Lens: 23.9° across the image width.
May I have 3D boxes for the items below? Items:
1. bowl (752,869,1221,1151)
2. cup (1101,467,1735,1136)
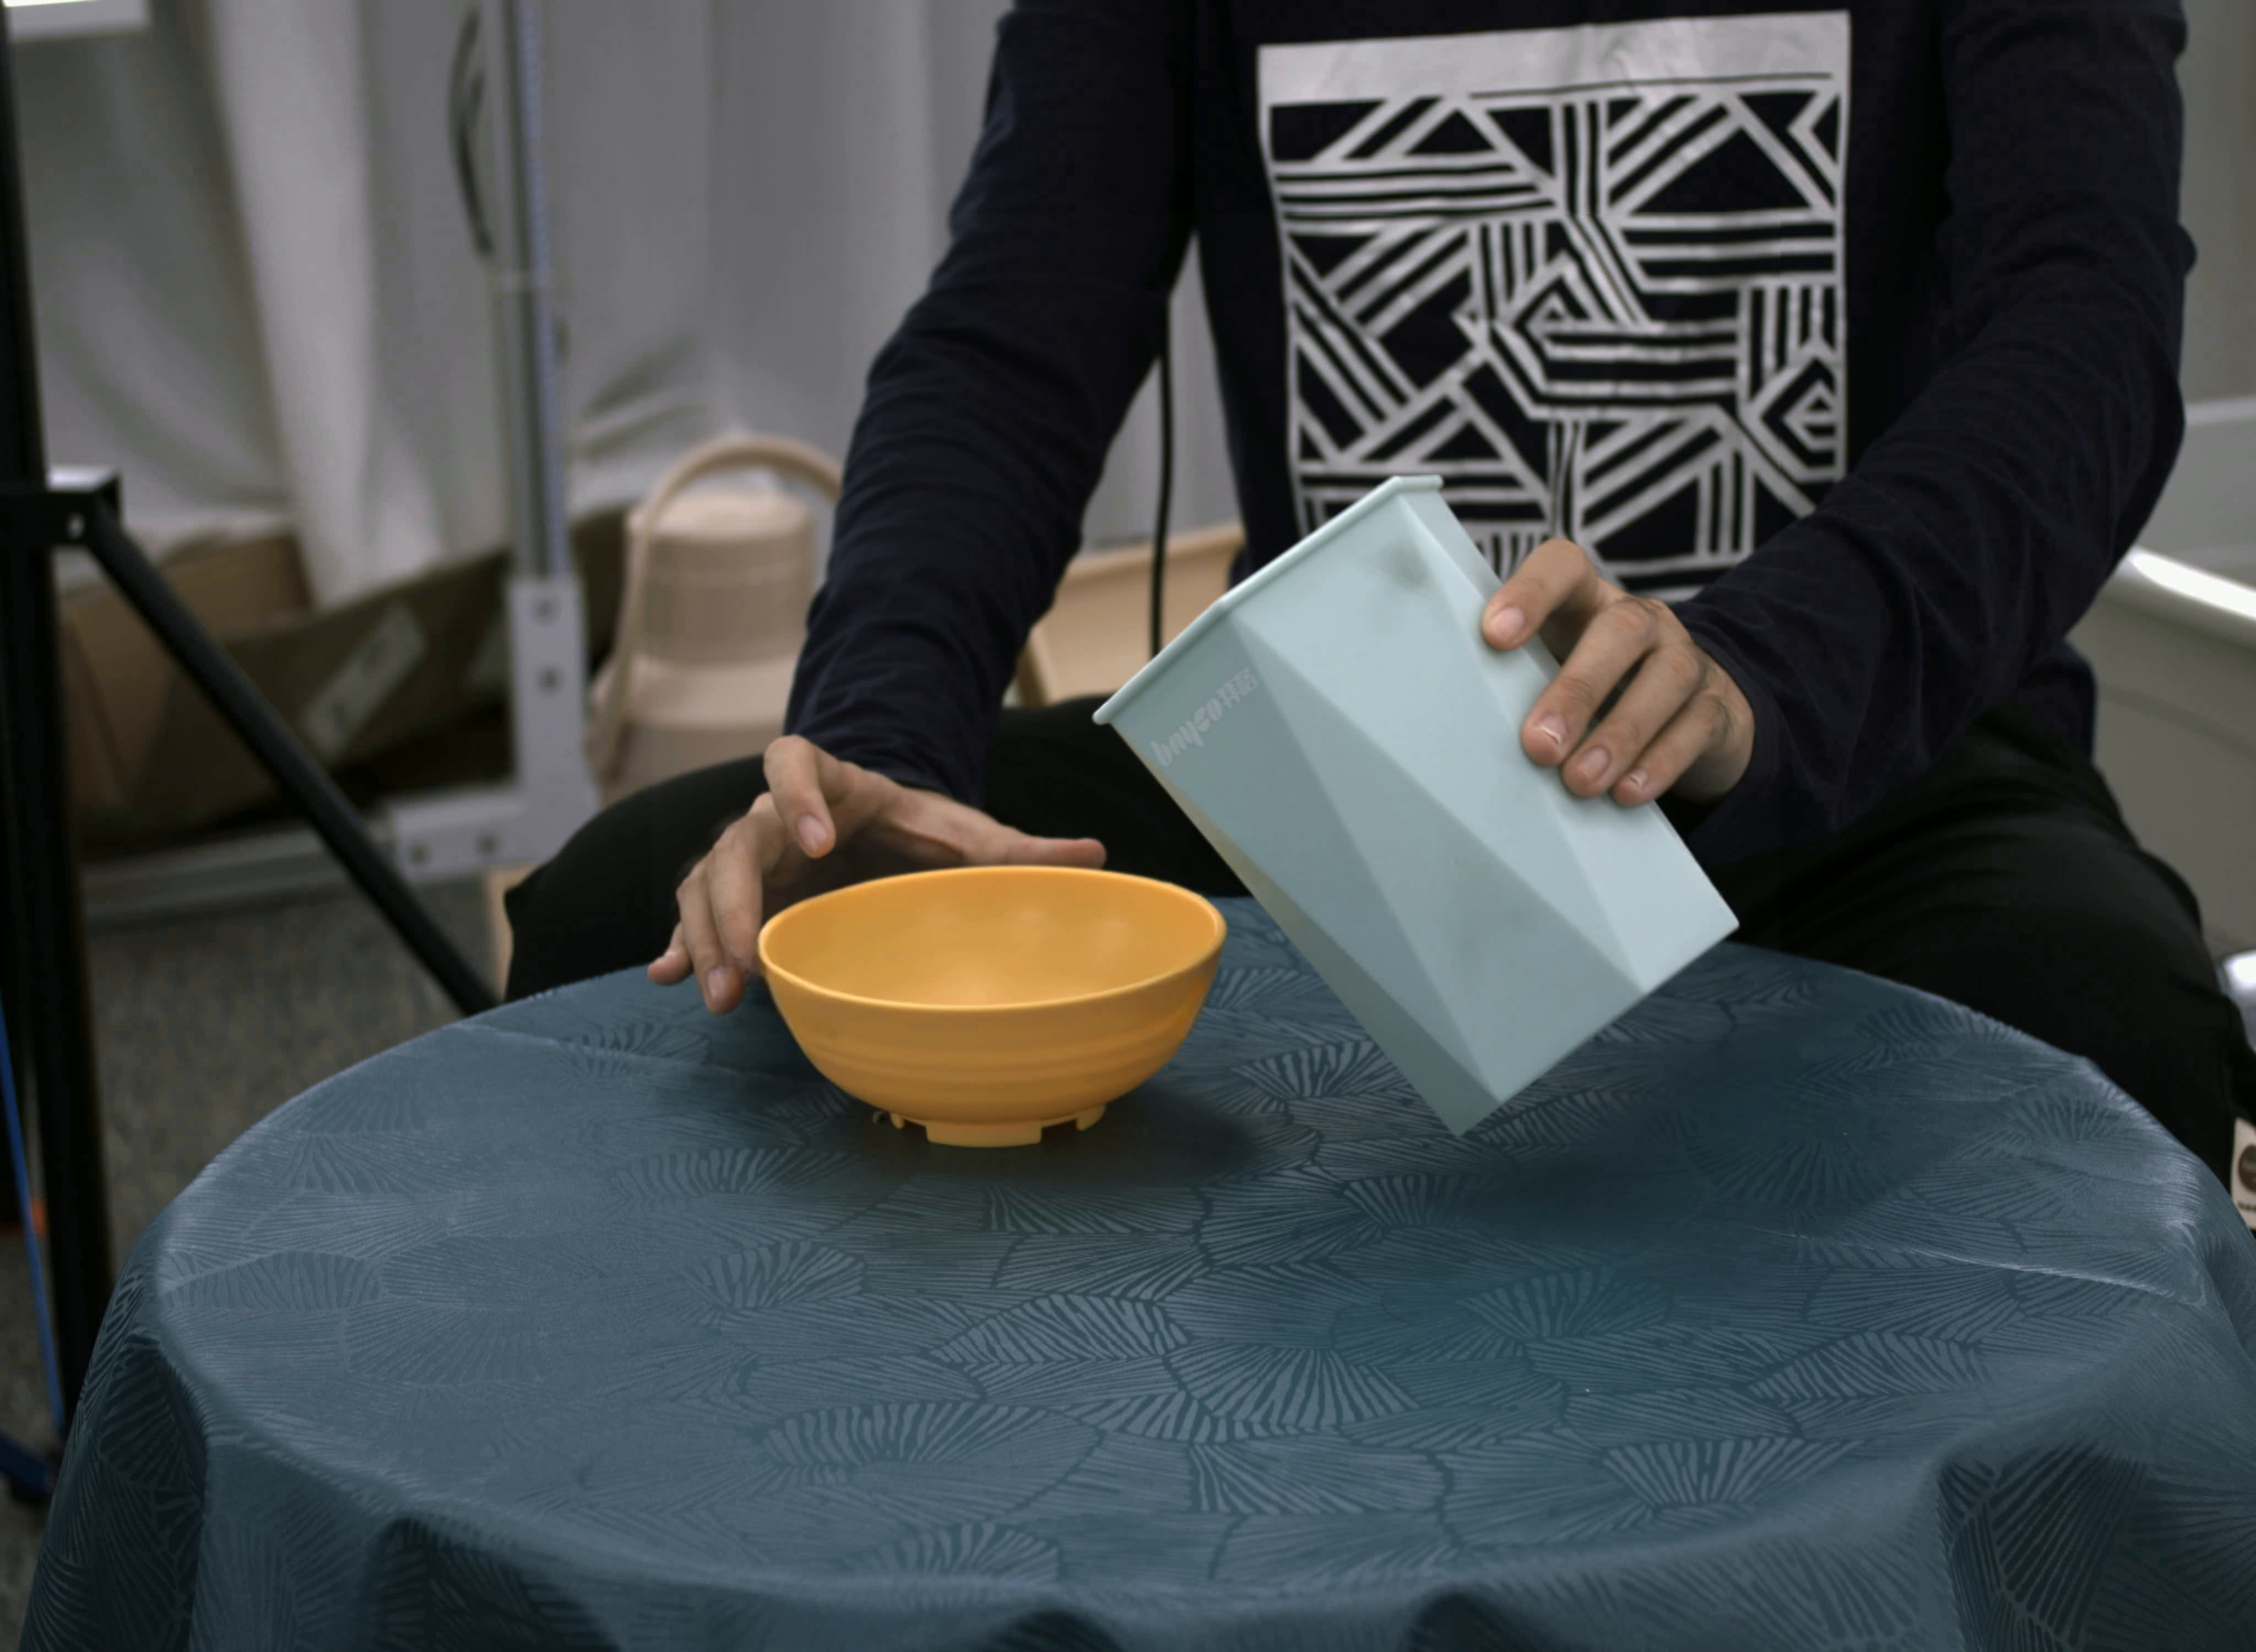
[{"bbox_3d":[-0.043,0.061,1.630,0.144,0.060,0.146,-1,15,-1],"label":"bowl"},{"bbox_3d":[0.089,-0.005,1.542,0.113,0.164,0.132,-27,-10,-48],"label":"cup"}]
